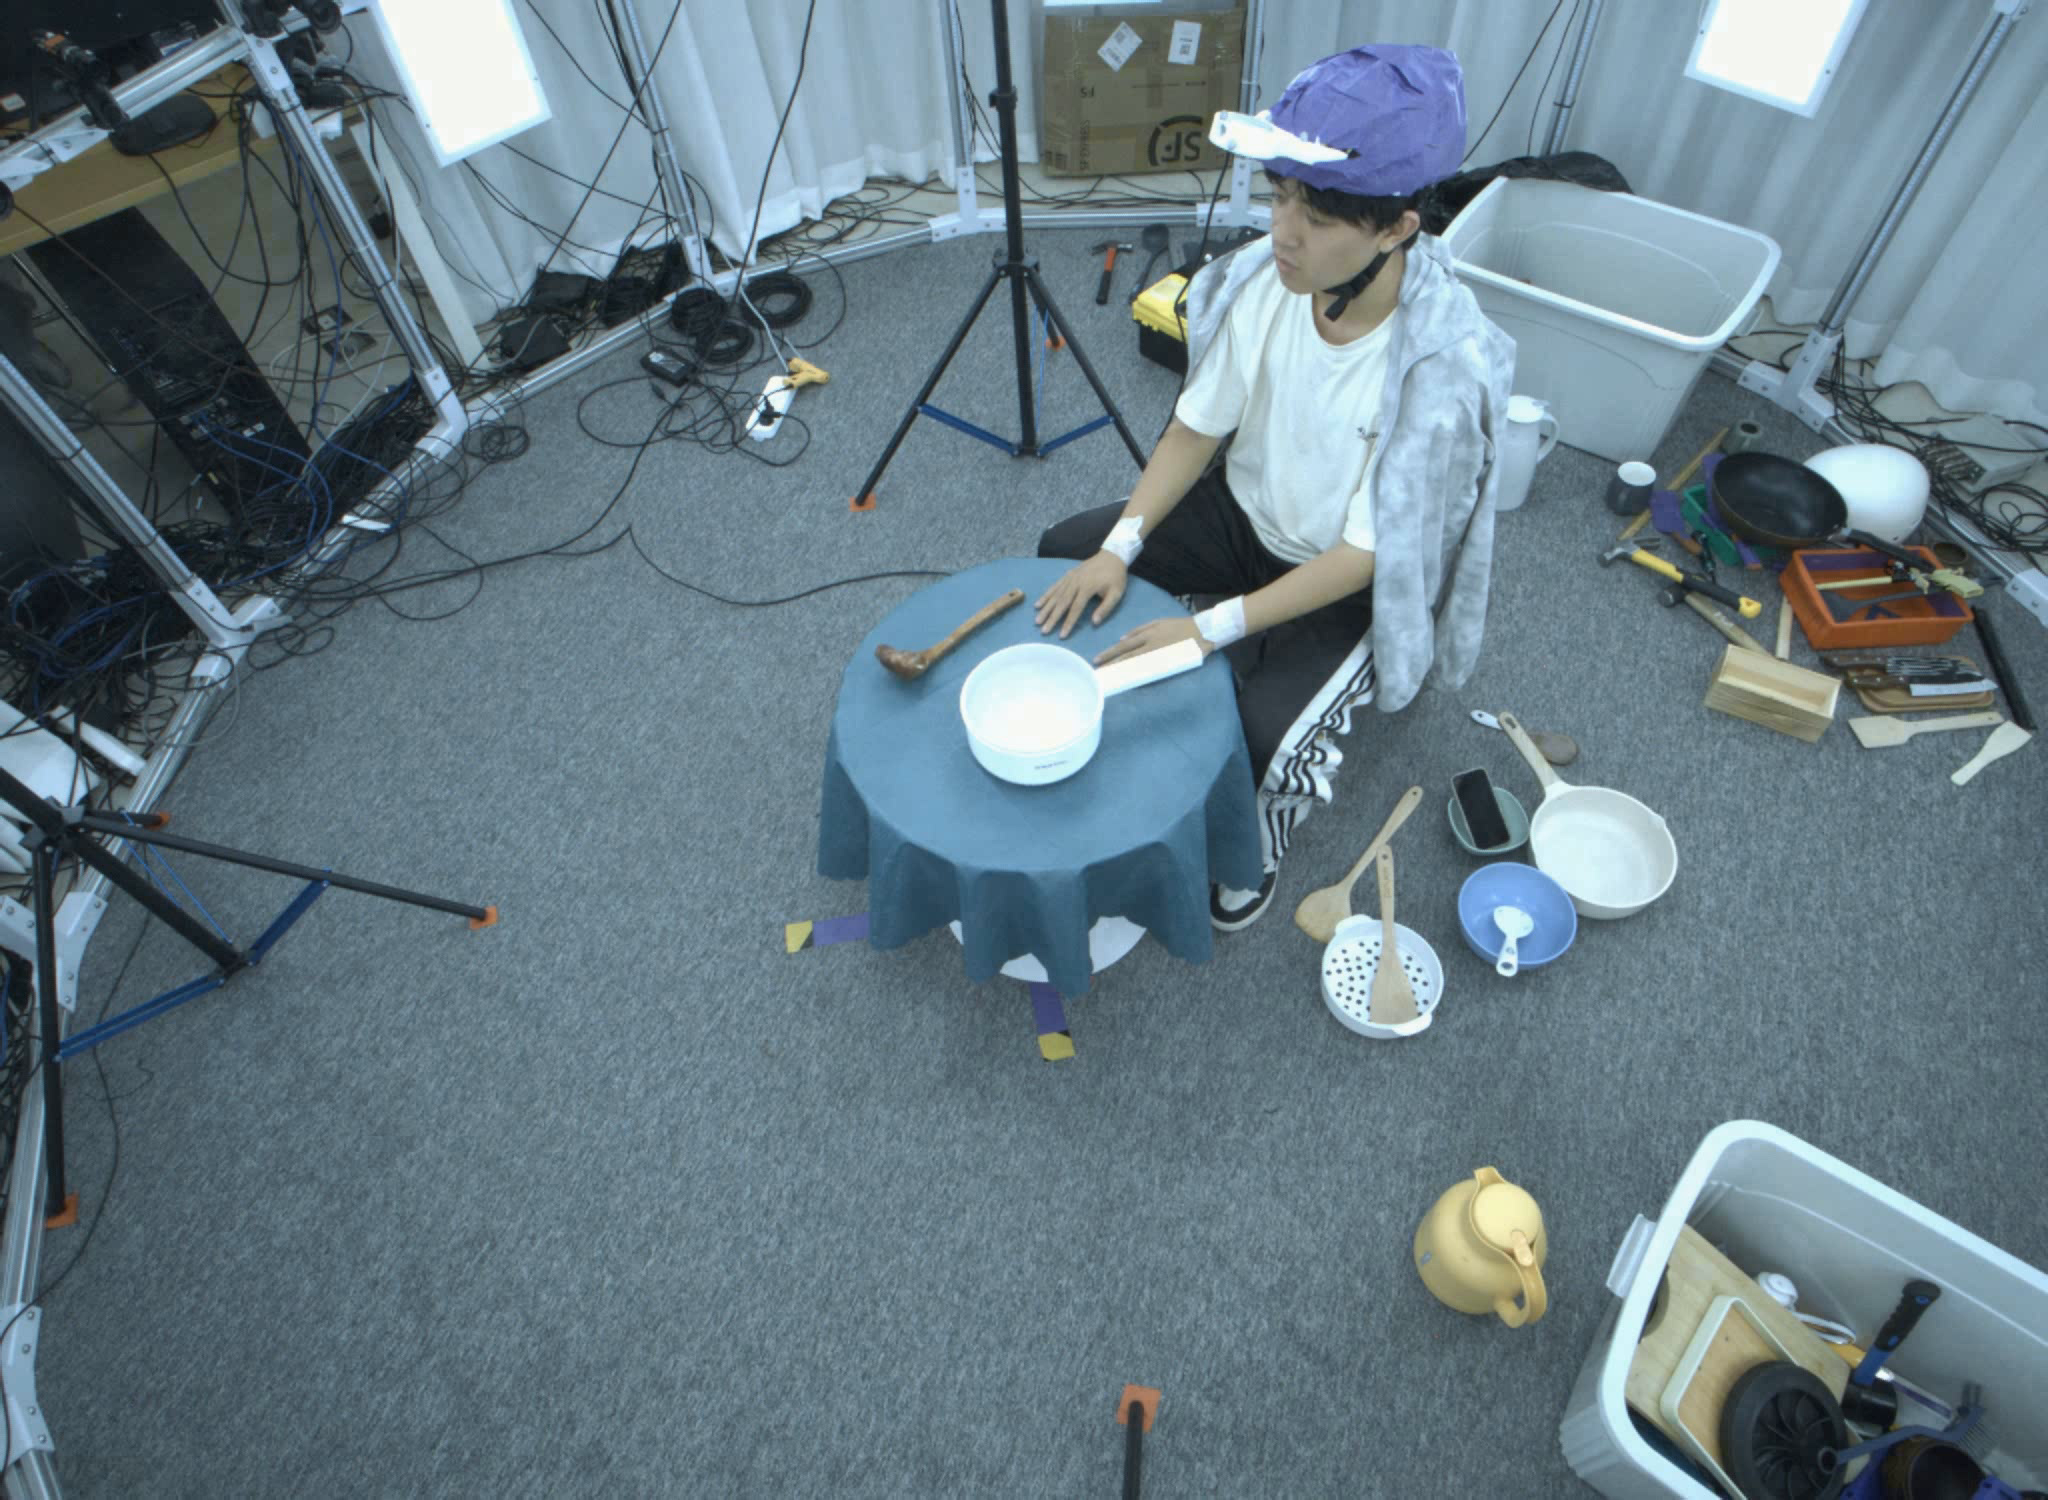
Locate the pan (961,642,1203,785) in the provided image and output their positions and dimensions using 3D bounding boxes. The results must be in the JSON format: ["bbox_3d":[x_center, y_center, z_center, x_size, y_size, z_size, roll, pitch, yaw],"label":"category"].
[{"bbox_3d":[0.086,-0.069,1.776,0.357,0.103,0.197,-17,55,-11],"label":"pan"}]

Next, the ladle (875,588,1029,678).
[{"bbox_3d":[-0.108,-0.197,1.884,0.276,0.077,0.080,-36,58,-20],"label":"ladle"}]
